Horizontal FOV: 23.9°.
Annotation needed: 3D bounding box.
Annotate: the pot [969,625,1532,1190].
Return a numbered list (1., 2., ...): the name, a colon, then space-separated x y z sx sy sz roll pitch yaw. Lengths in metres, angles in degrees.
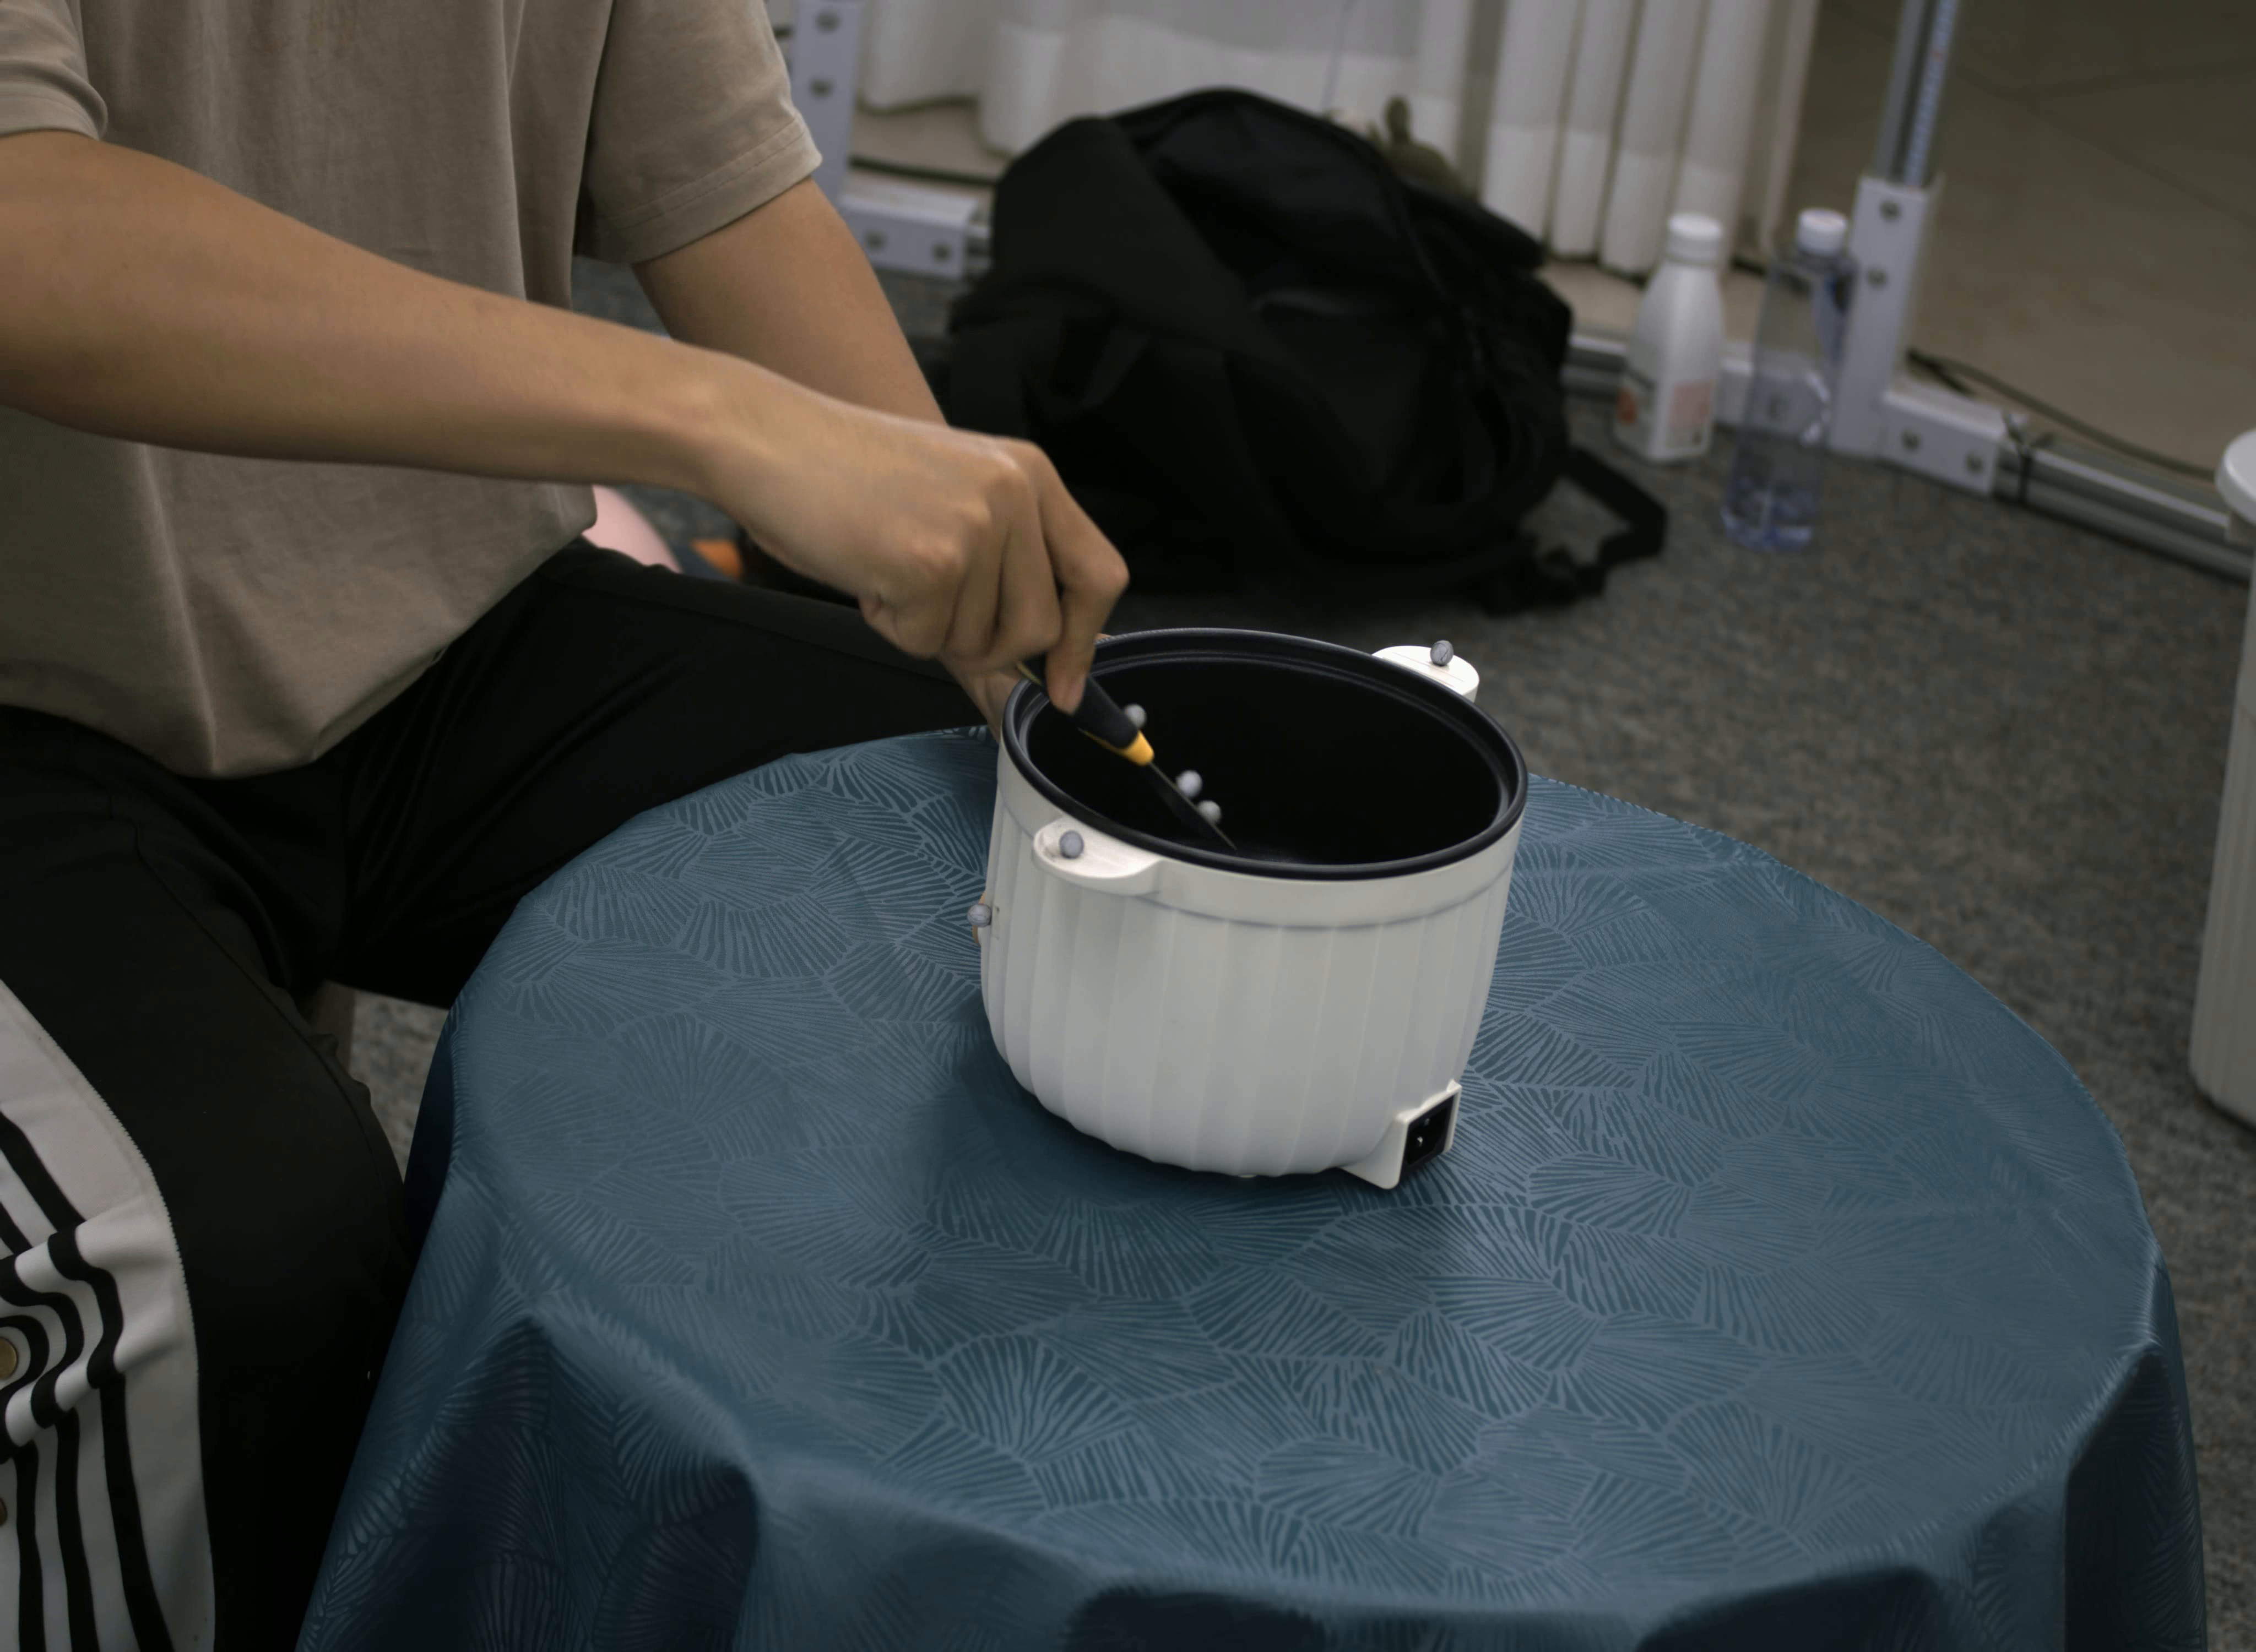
1. pot: 0.034 0.030 1.844 0.191 0.142 0.239 27 31 26

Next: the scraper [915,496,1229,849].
1. scraper: -0.018 -0.050 1.753 0.015 0.169 0.039 -44 35 -4
